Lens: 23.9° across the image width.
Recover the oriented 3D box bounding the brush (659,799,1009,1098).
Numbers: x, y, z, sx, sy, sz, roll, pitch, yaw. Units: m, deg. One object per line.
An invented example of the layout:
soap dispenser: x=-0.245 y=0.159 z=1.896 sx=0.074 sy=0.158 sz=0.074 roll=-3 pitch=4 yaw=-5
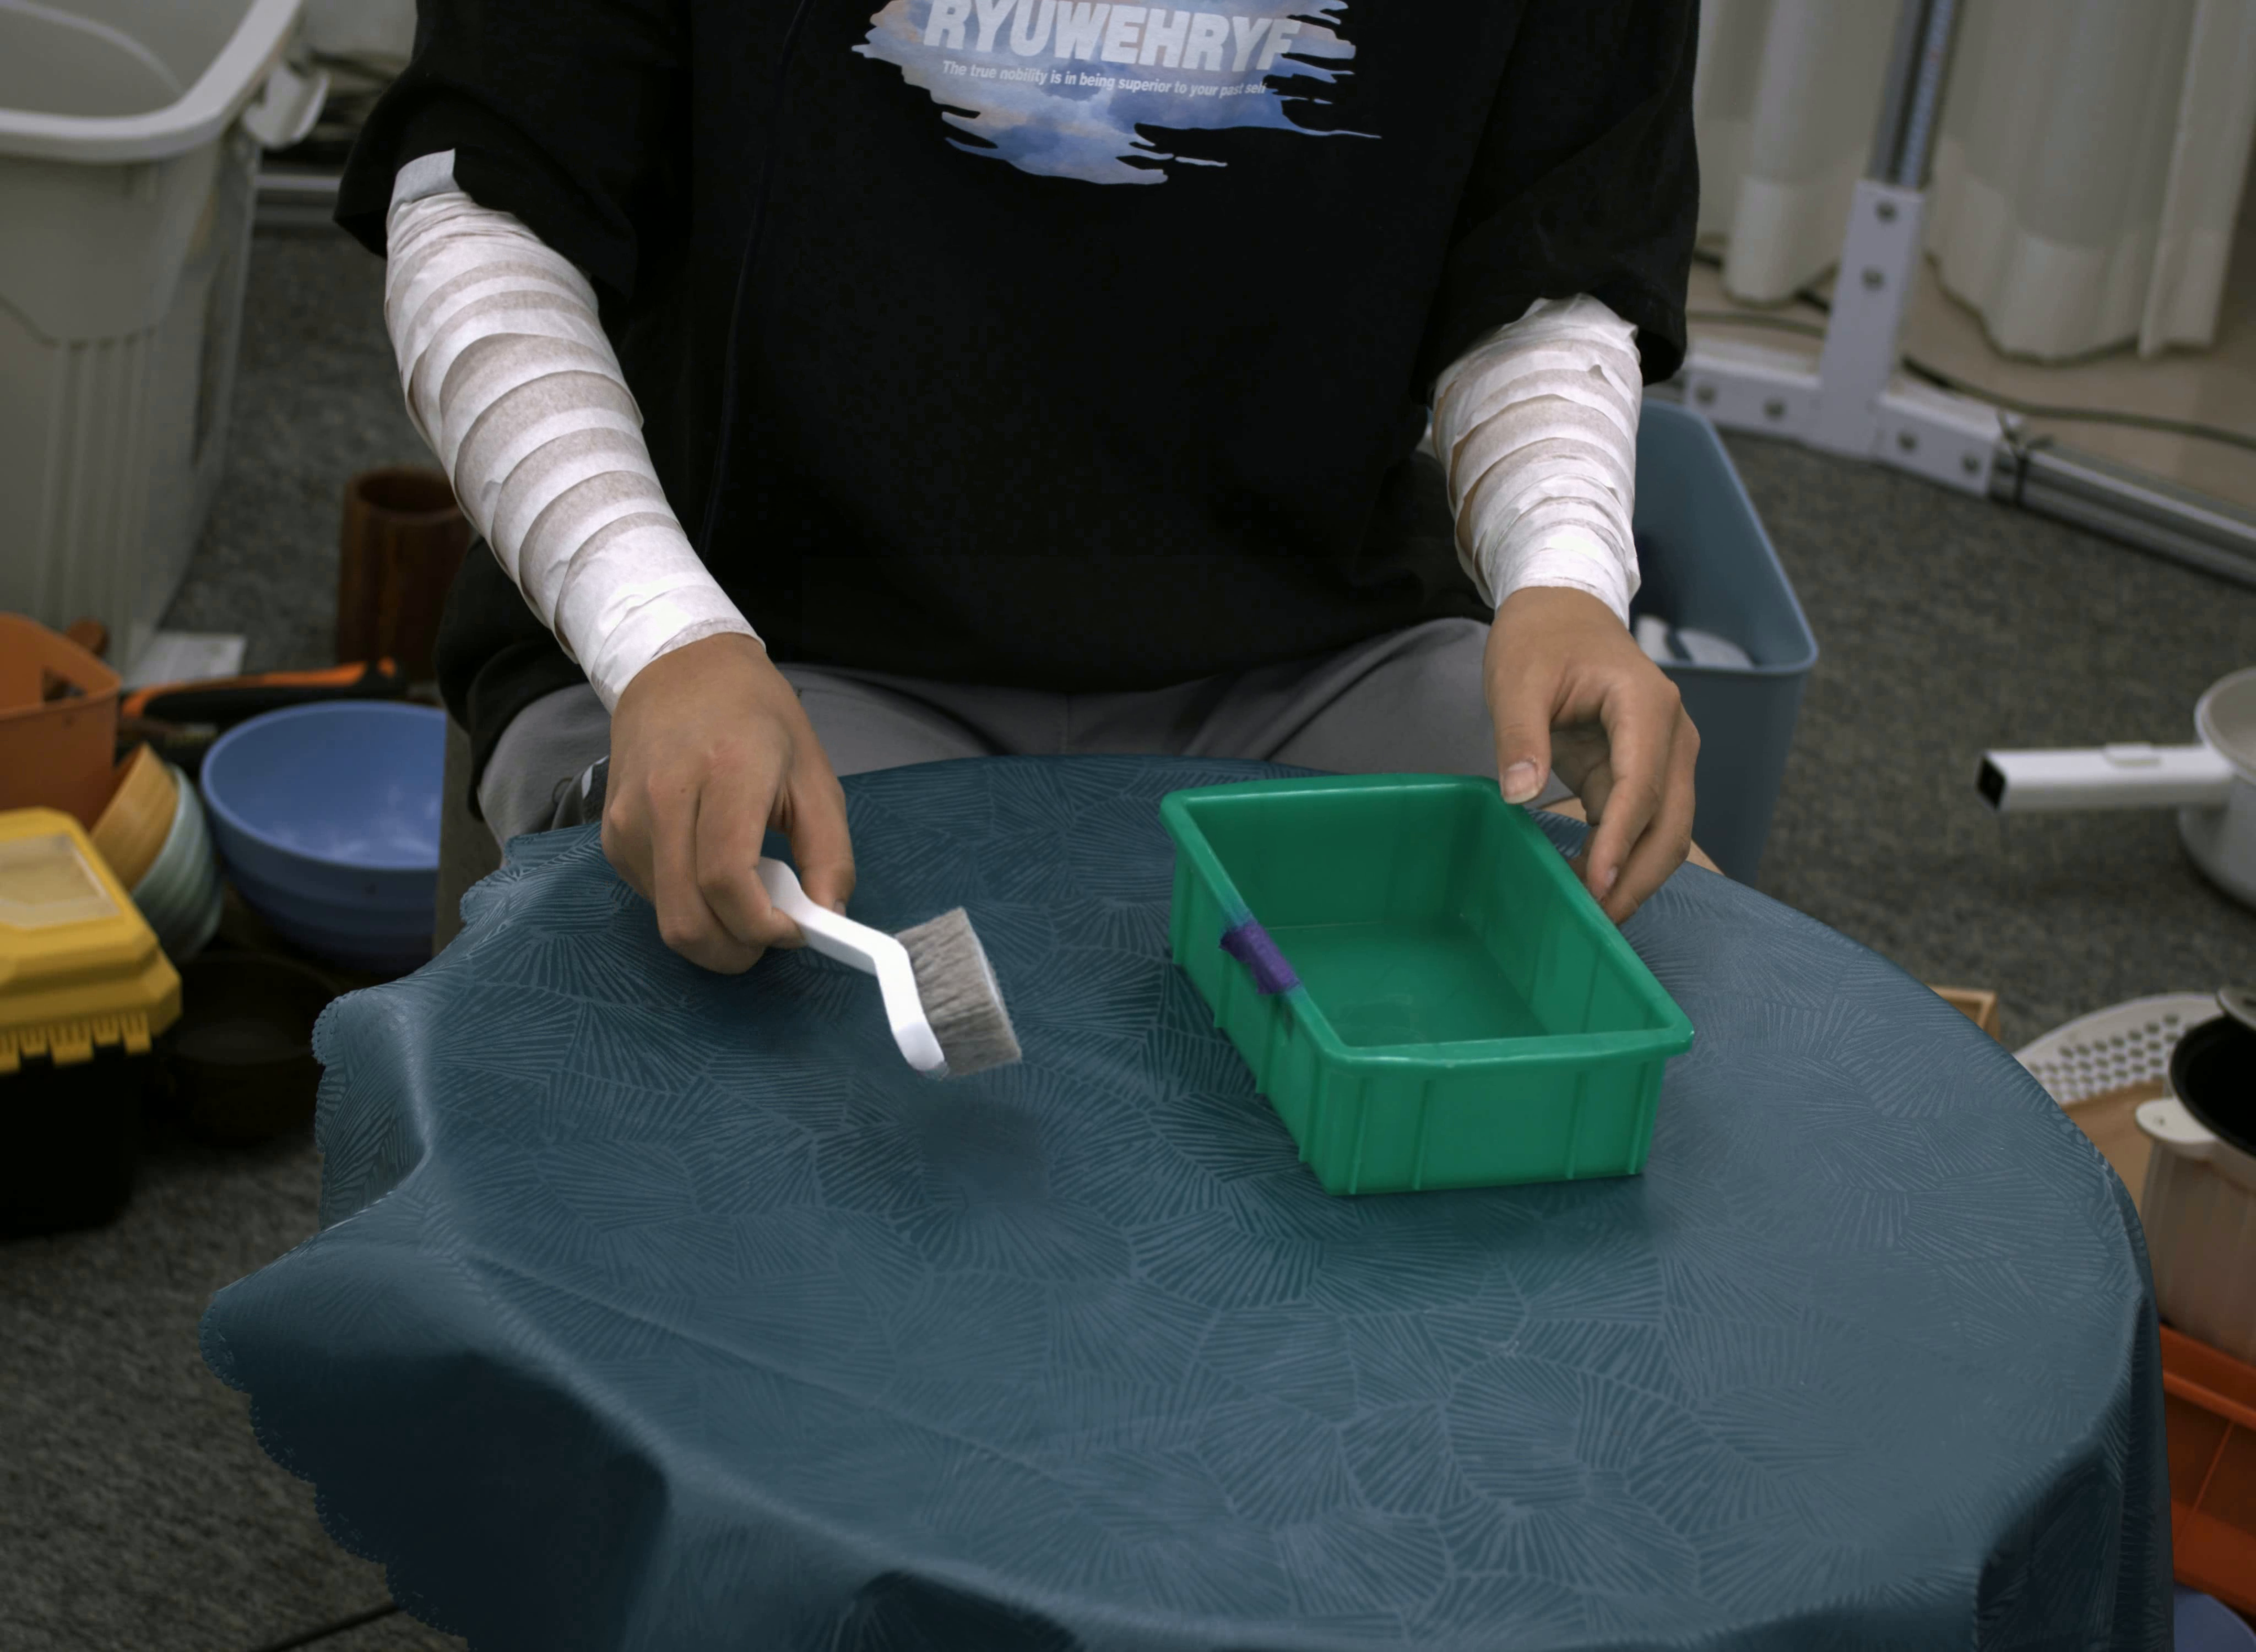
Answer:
brush: x=-0.103 y=0.030 z=1.874 sx=0.050 sy=0.034 sz=0.245 roll=-32 pitch=31 yaw=-12

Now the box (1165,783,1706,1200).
box: x=0.103 y=0.059 z=1.889 sx=0.138 sy=0.065 sz=0.212 roll=-5 pitch=28 yaw=-18
